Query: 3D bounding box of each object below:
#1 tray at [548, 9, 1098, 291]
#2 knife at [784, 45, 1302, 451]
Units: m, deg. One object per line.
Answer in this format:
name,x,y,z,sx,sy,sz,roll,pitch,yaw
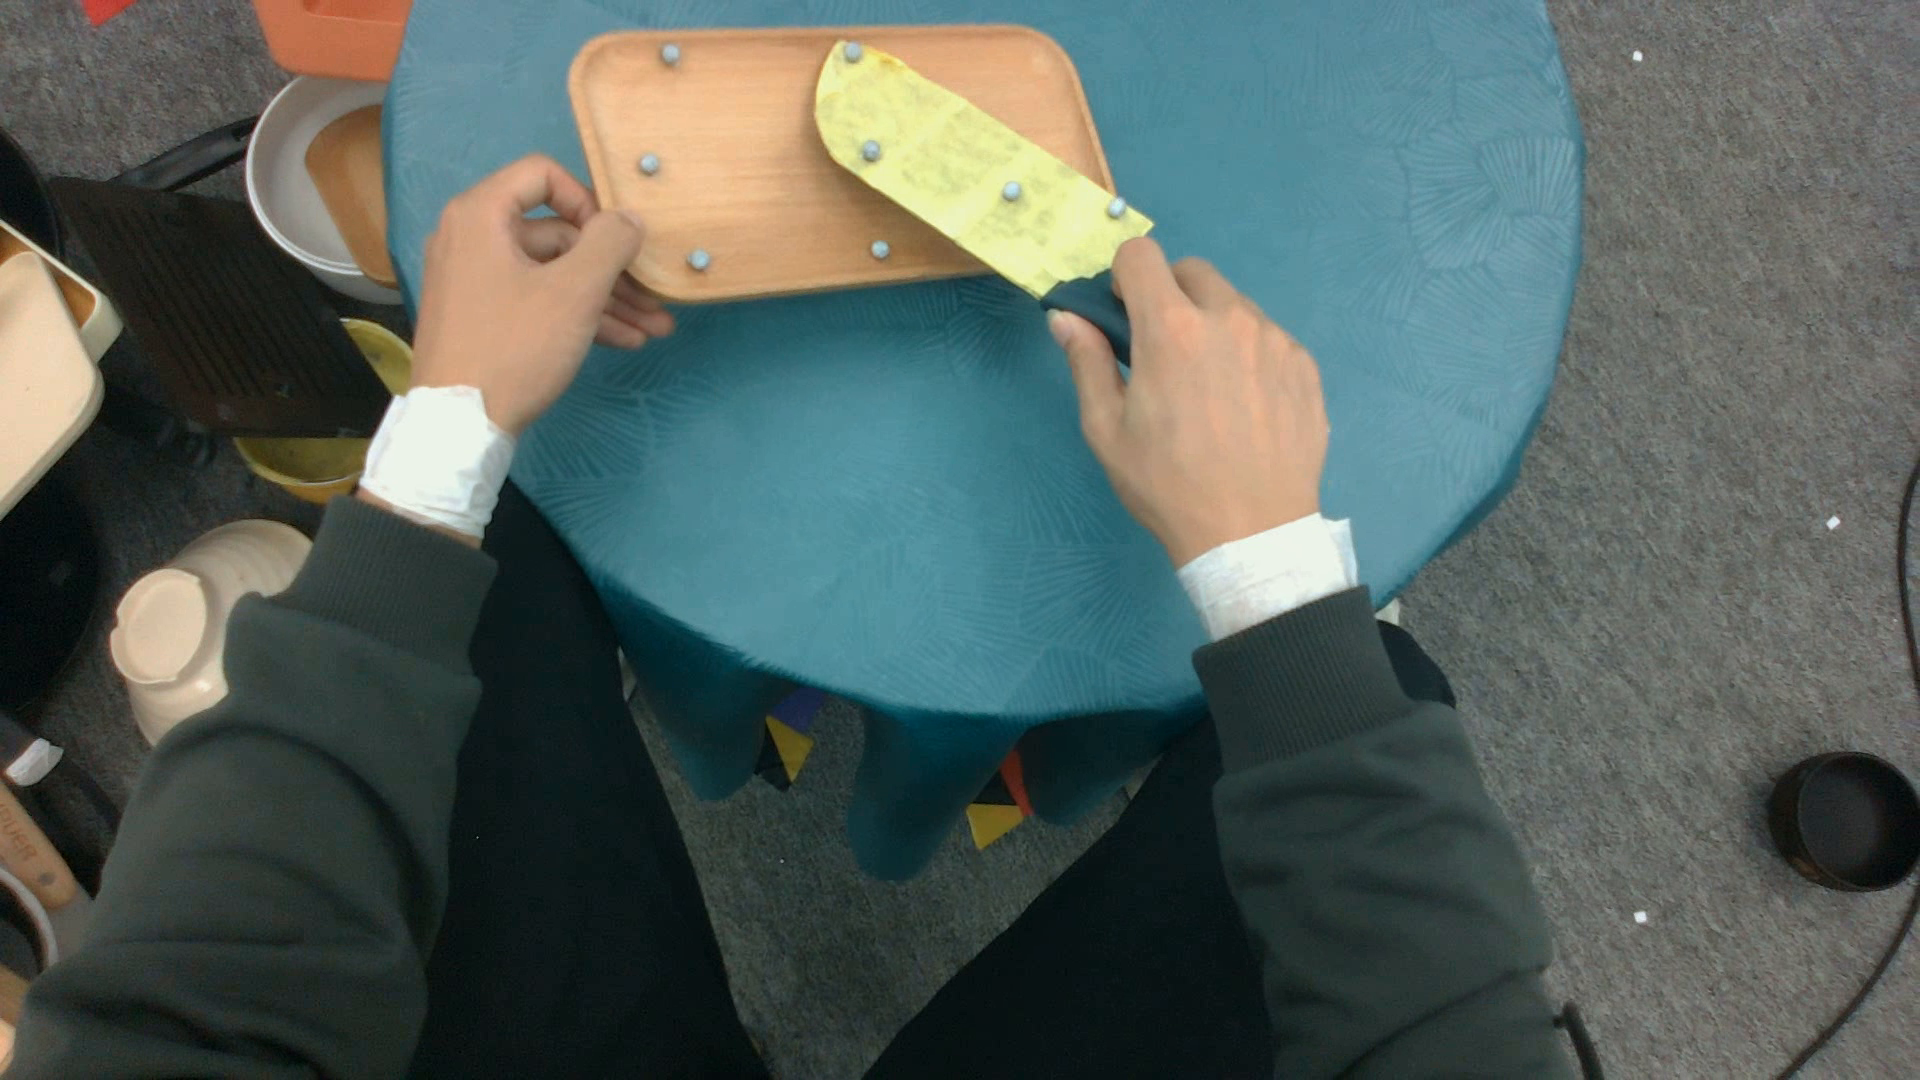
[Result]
tray,-0.055,-0.184,0.636,0.251,0.023,0.130,-12,80,-27
knife,0.036,-0.136,0.605,0.289,0.027,0.081,39,64,10
